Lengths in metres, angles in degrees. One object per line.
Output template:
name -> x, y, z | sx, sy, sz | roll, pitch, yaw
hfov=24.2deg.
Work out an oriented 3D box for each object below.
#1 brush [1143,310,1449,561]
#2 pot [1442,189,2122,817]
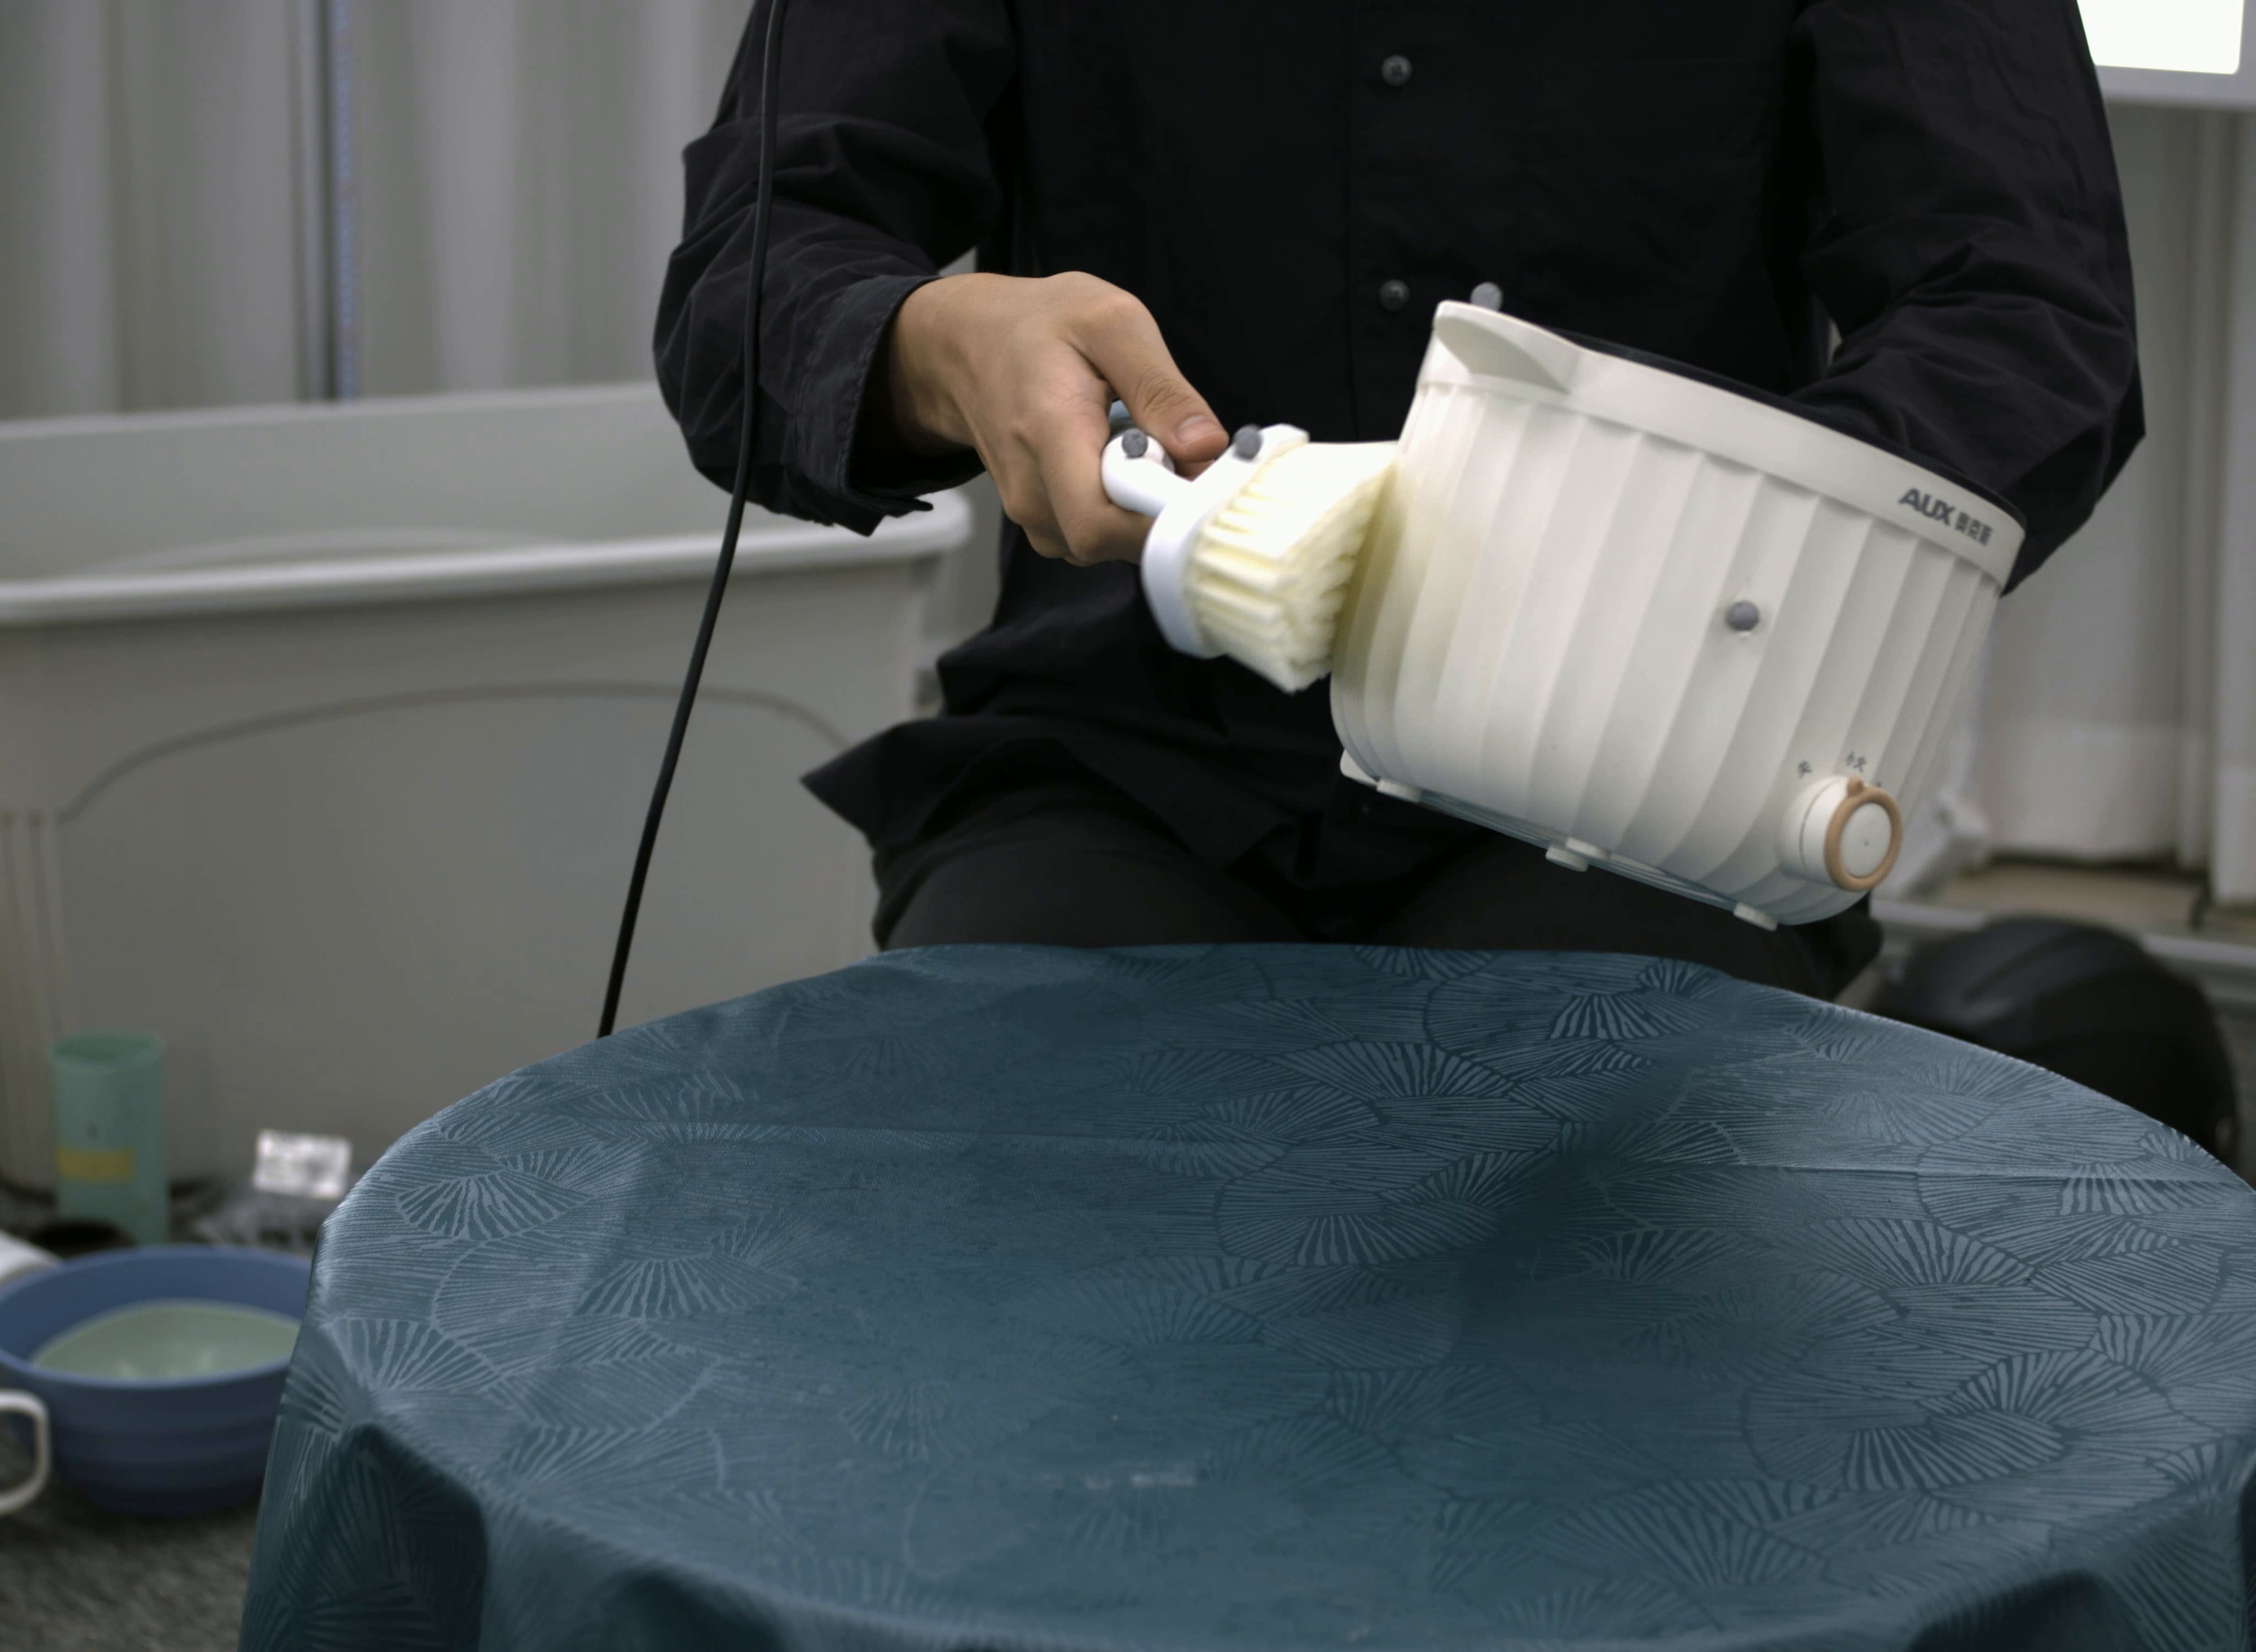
brush -> 0.060, -0.132, 1.625 | 0.083, 0.085, 0.324 | -38, 8, 5
pot -> 0.192, -0.087, 1.563 | 0.188, 0.143, 0.243 | 14, -4, 45
